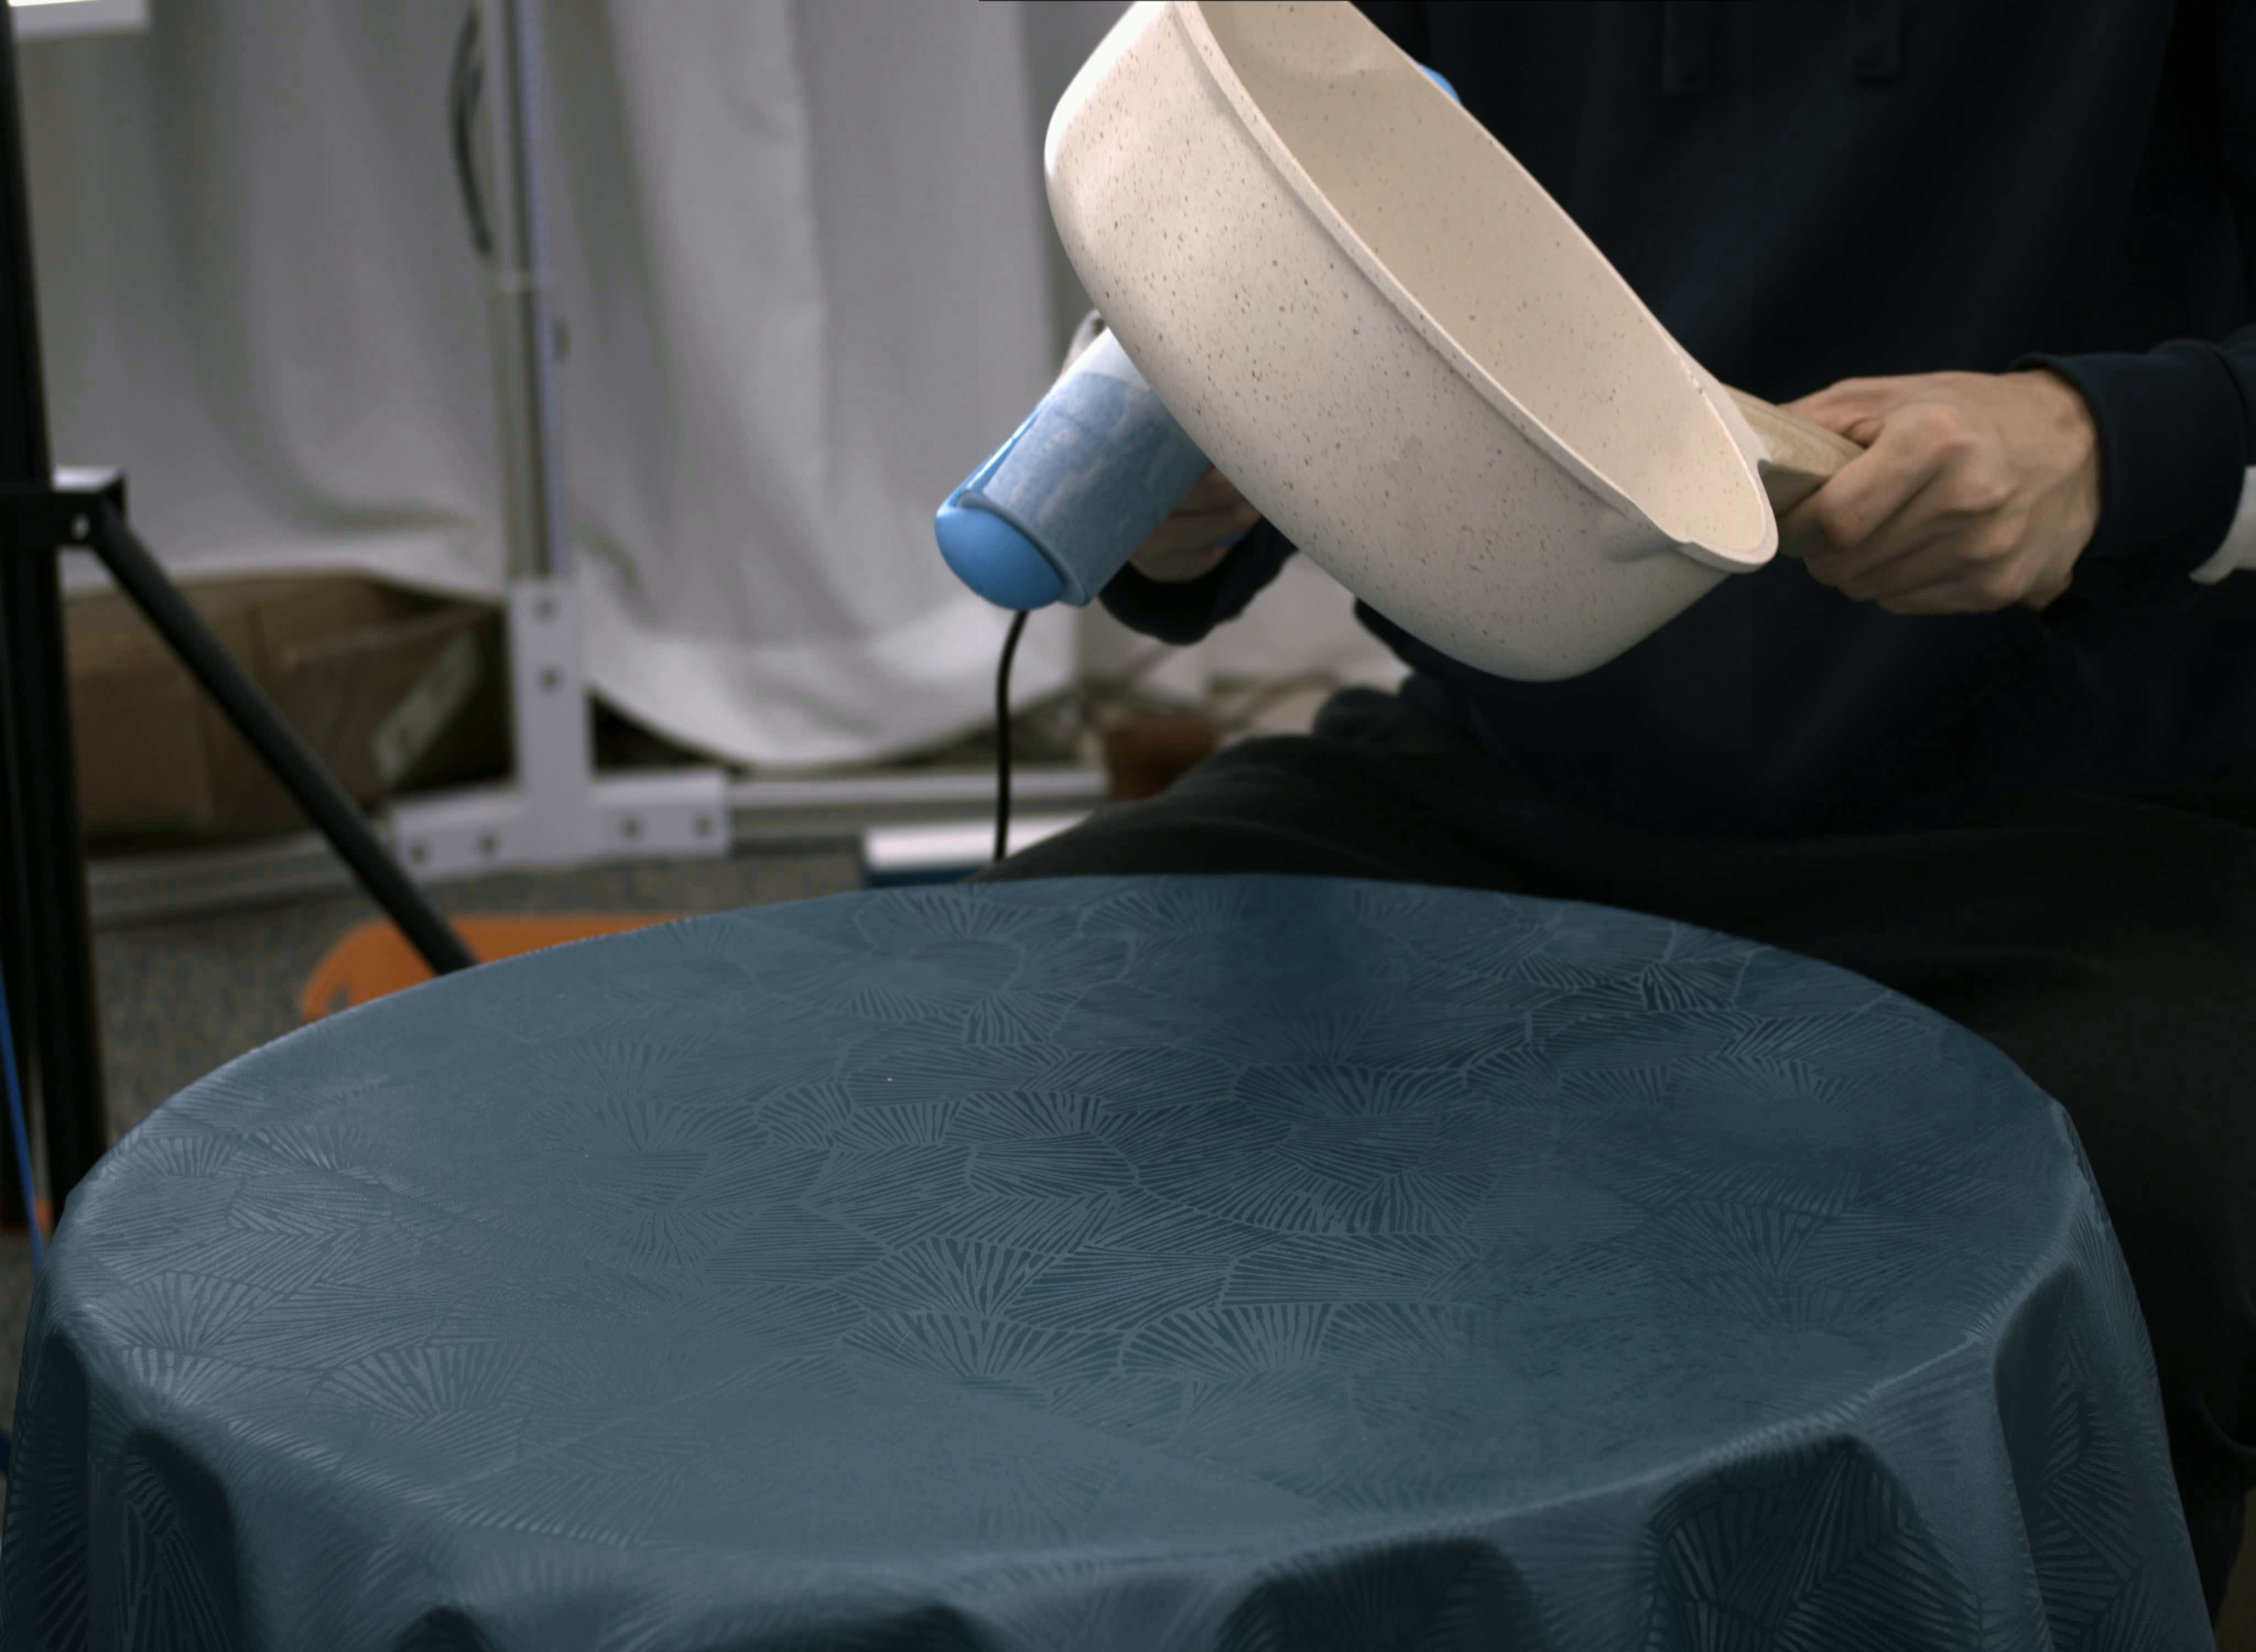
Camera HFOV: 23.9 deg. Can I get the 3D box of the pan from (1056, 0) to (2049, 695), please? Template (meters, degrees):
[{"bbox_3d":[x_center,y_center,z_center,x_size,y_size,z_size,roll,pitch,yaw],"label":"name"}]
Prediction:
[{"bbox_3d":[0.140,-0.117,1.617,0.423,0.102,0.269,27,25,-46],"label":"pan"}]

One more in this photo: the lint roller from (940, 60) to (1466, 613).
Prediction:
[{"bbox_3d":[0.021,-0.138,1.743,0.068,0.228,0.180,38,-17,6],"label":"lint roller"}]
